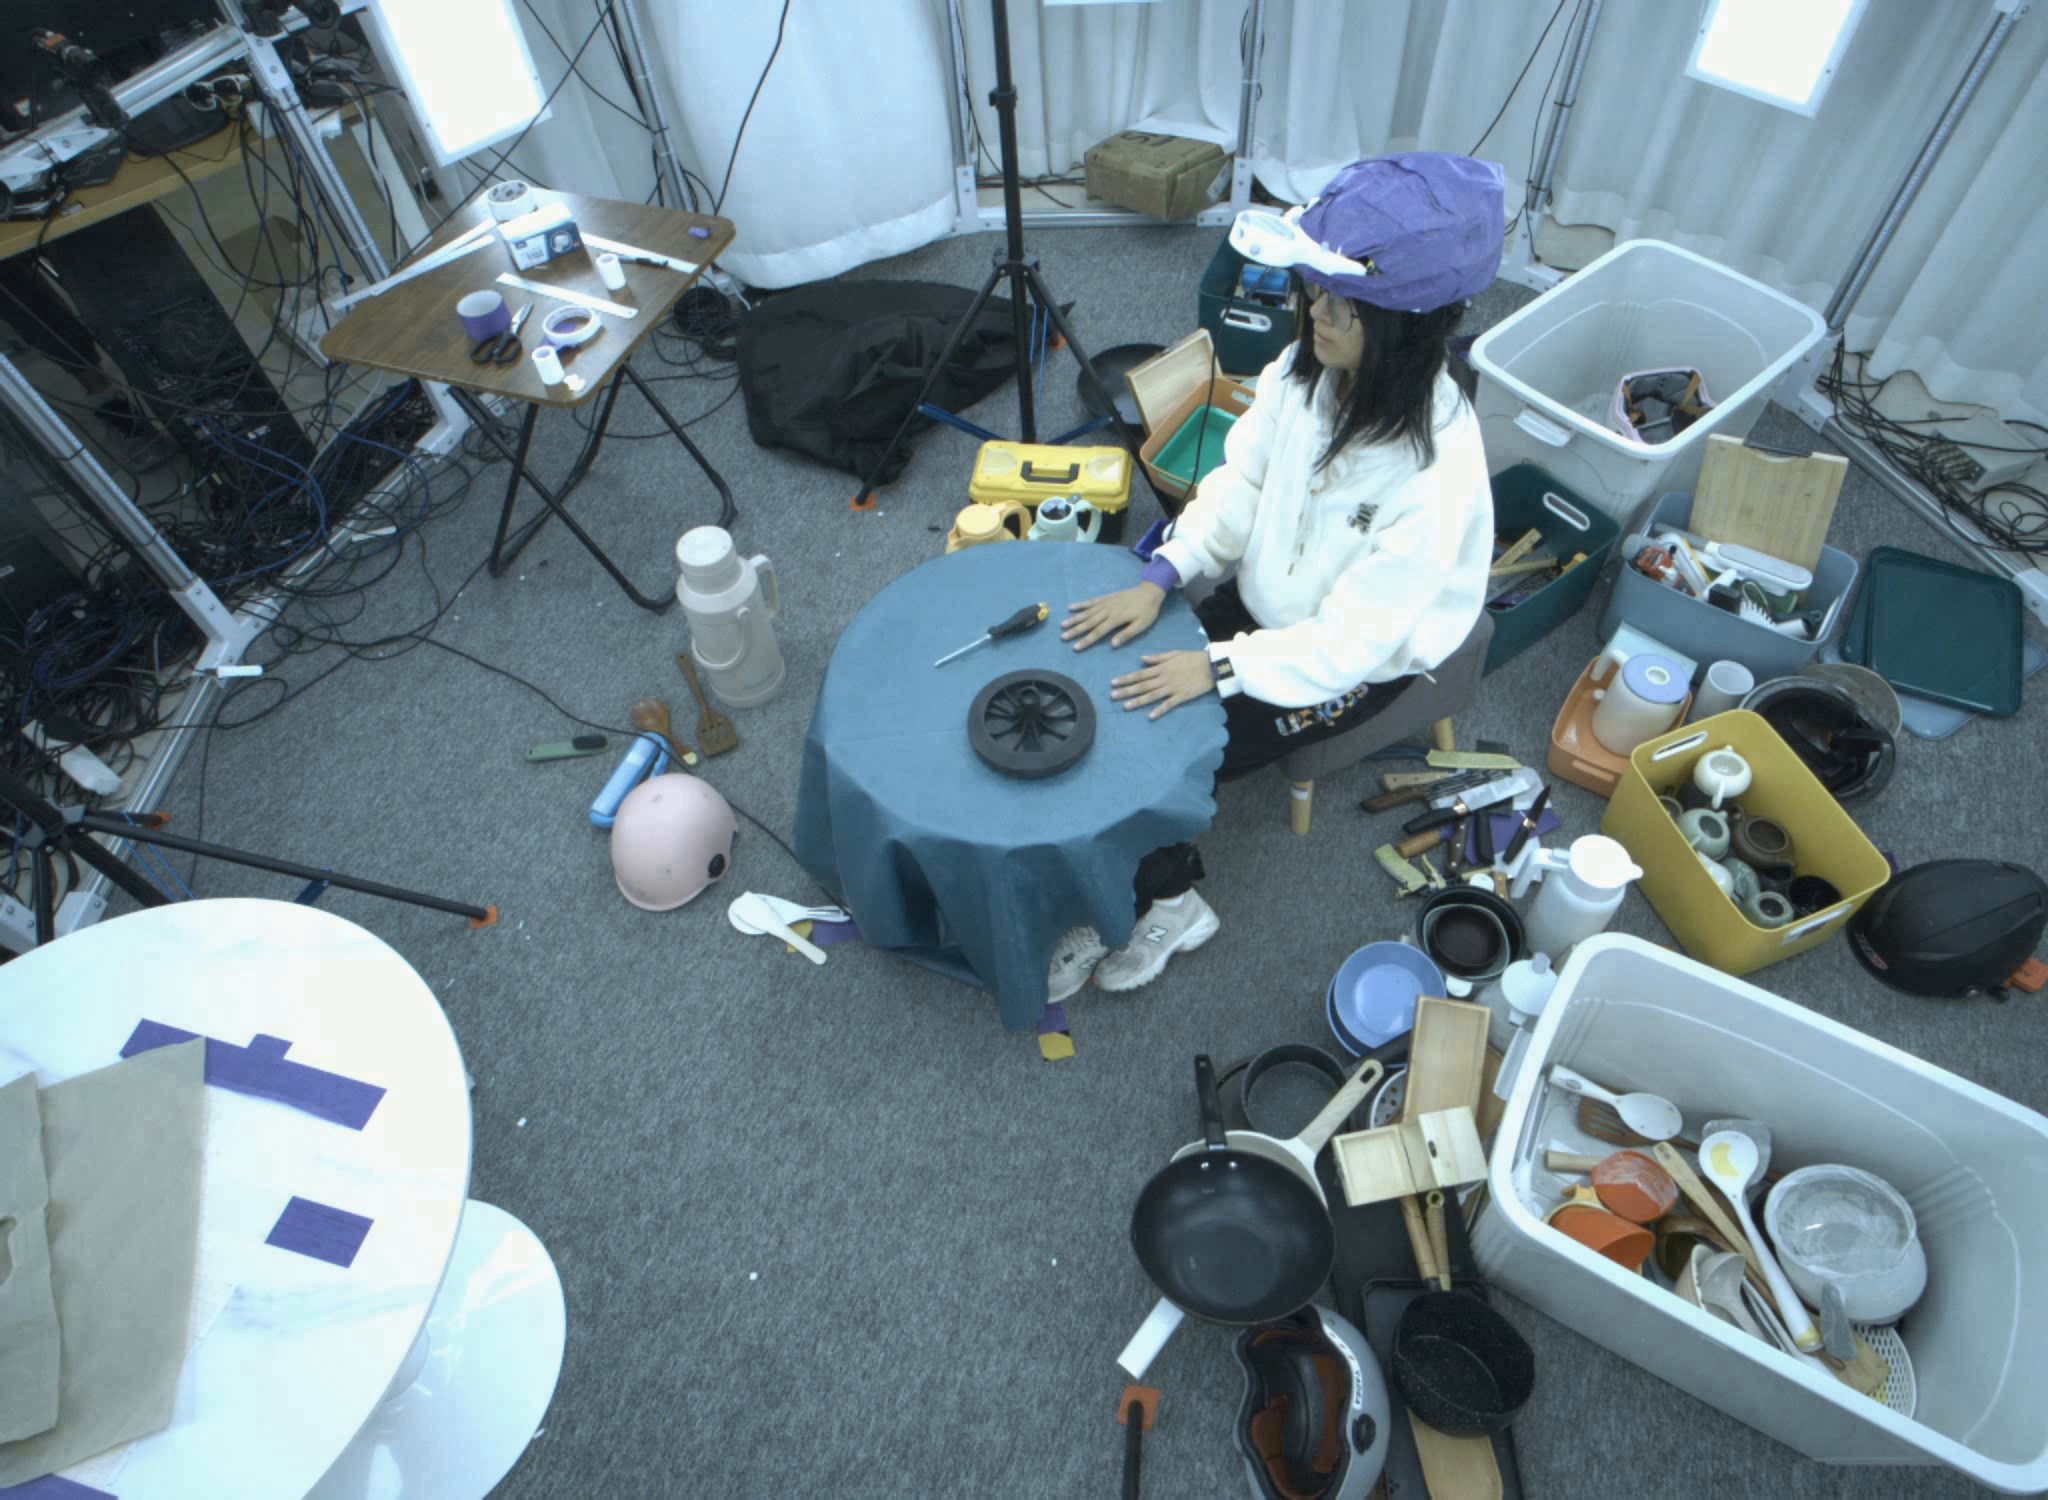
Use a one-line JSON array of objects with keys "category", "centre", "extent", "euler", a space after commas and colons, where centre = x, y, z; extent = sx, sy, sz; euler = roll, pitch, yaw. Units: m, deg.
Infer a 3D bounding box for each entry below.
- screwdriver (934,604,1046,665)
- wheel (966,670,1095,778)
[{"category": "screwdriver", "centre": [-0.052, -0.175, 1.898], "extent": [0.197, 0.032, 0.031], "euler": [-30, 59, -15]}, {"category": "wheel", "centre": [0.007, -0.053, 1.779], "extent": [0.188, 0.080, 0.186], "euler": [6, 55, 9]}]
